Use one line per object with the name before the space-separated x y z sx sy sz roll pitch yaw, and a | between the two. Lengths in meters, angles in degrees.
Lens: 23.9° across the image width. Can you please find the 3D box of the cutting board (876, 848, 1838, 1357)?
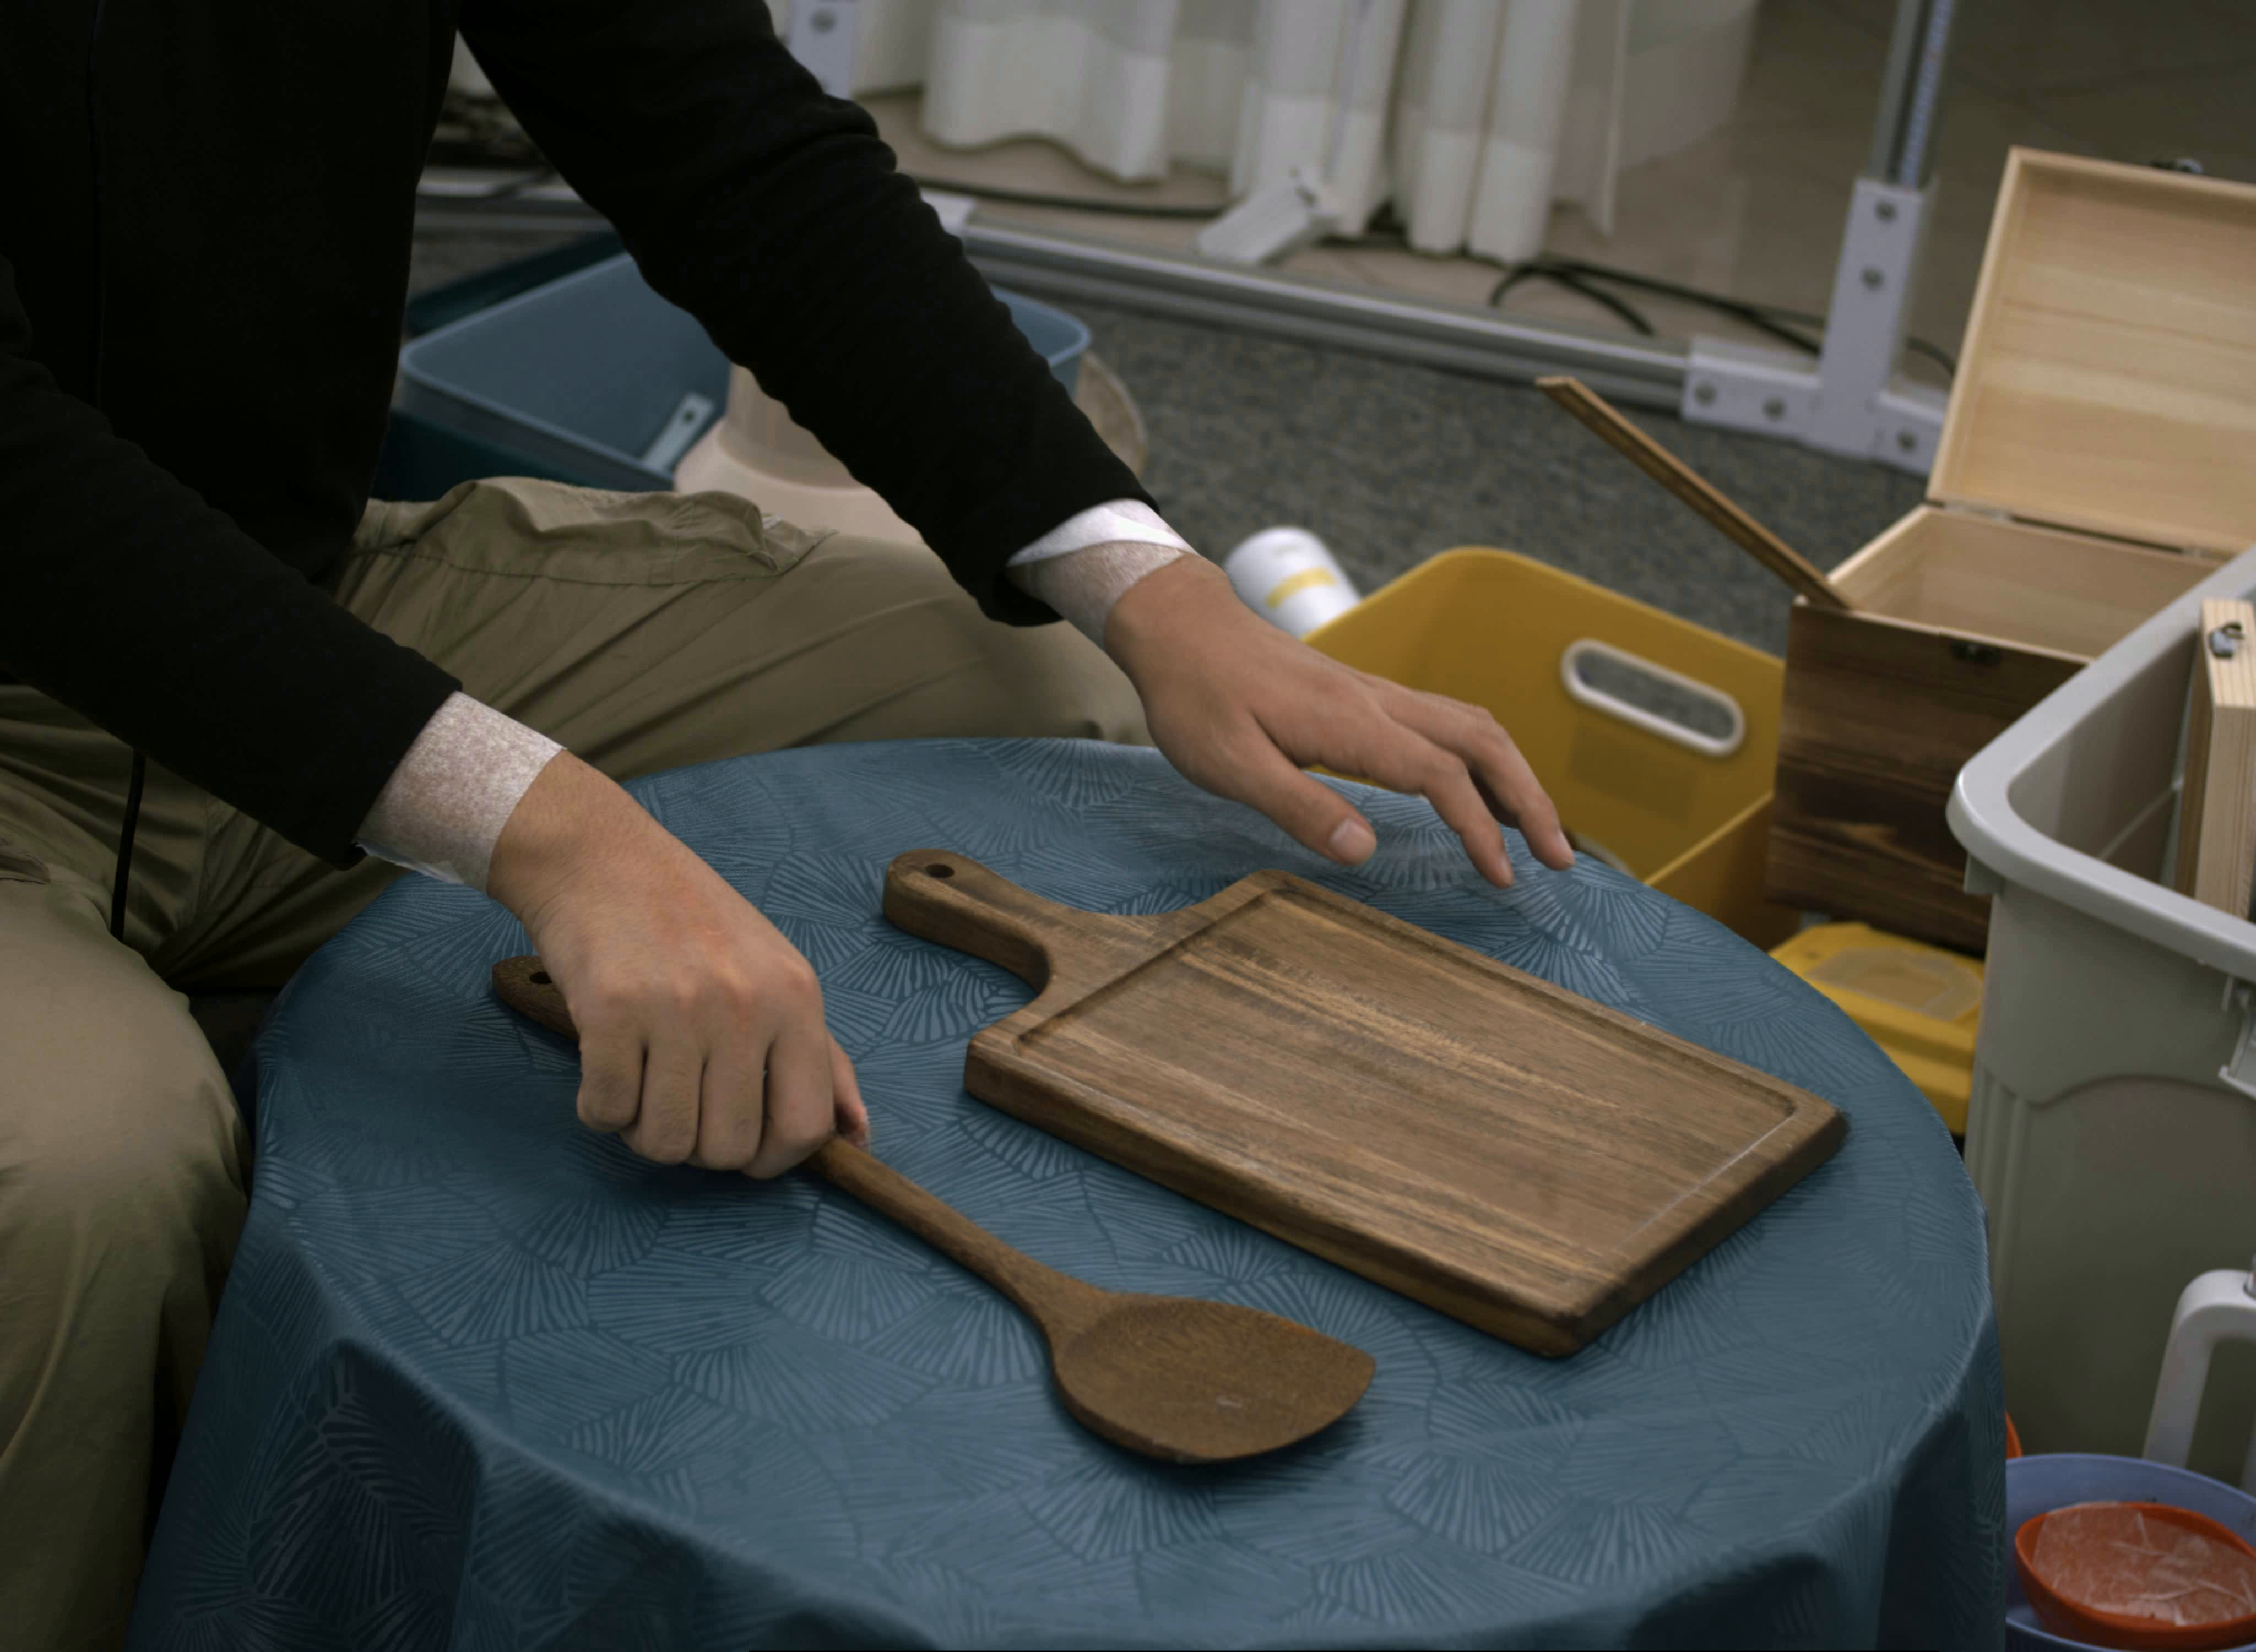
cutting board | 0.056 0.077 1.882 0.354 0.023 0.200 23 31 28

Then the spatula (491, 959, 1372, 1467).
spatula | -0.083 0.120 1.773 0.389 0.016 0.095 28 34 36
